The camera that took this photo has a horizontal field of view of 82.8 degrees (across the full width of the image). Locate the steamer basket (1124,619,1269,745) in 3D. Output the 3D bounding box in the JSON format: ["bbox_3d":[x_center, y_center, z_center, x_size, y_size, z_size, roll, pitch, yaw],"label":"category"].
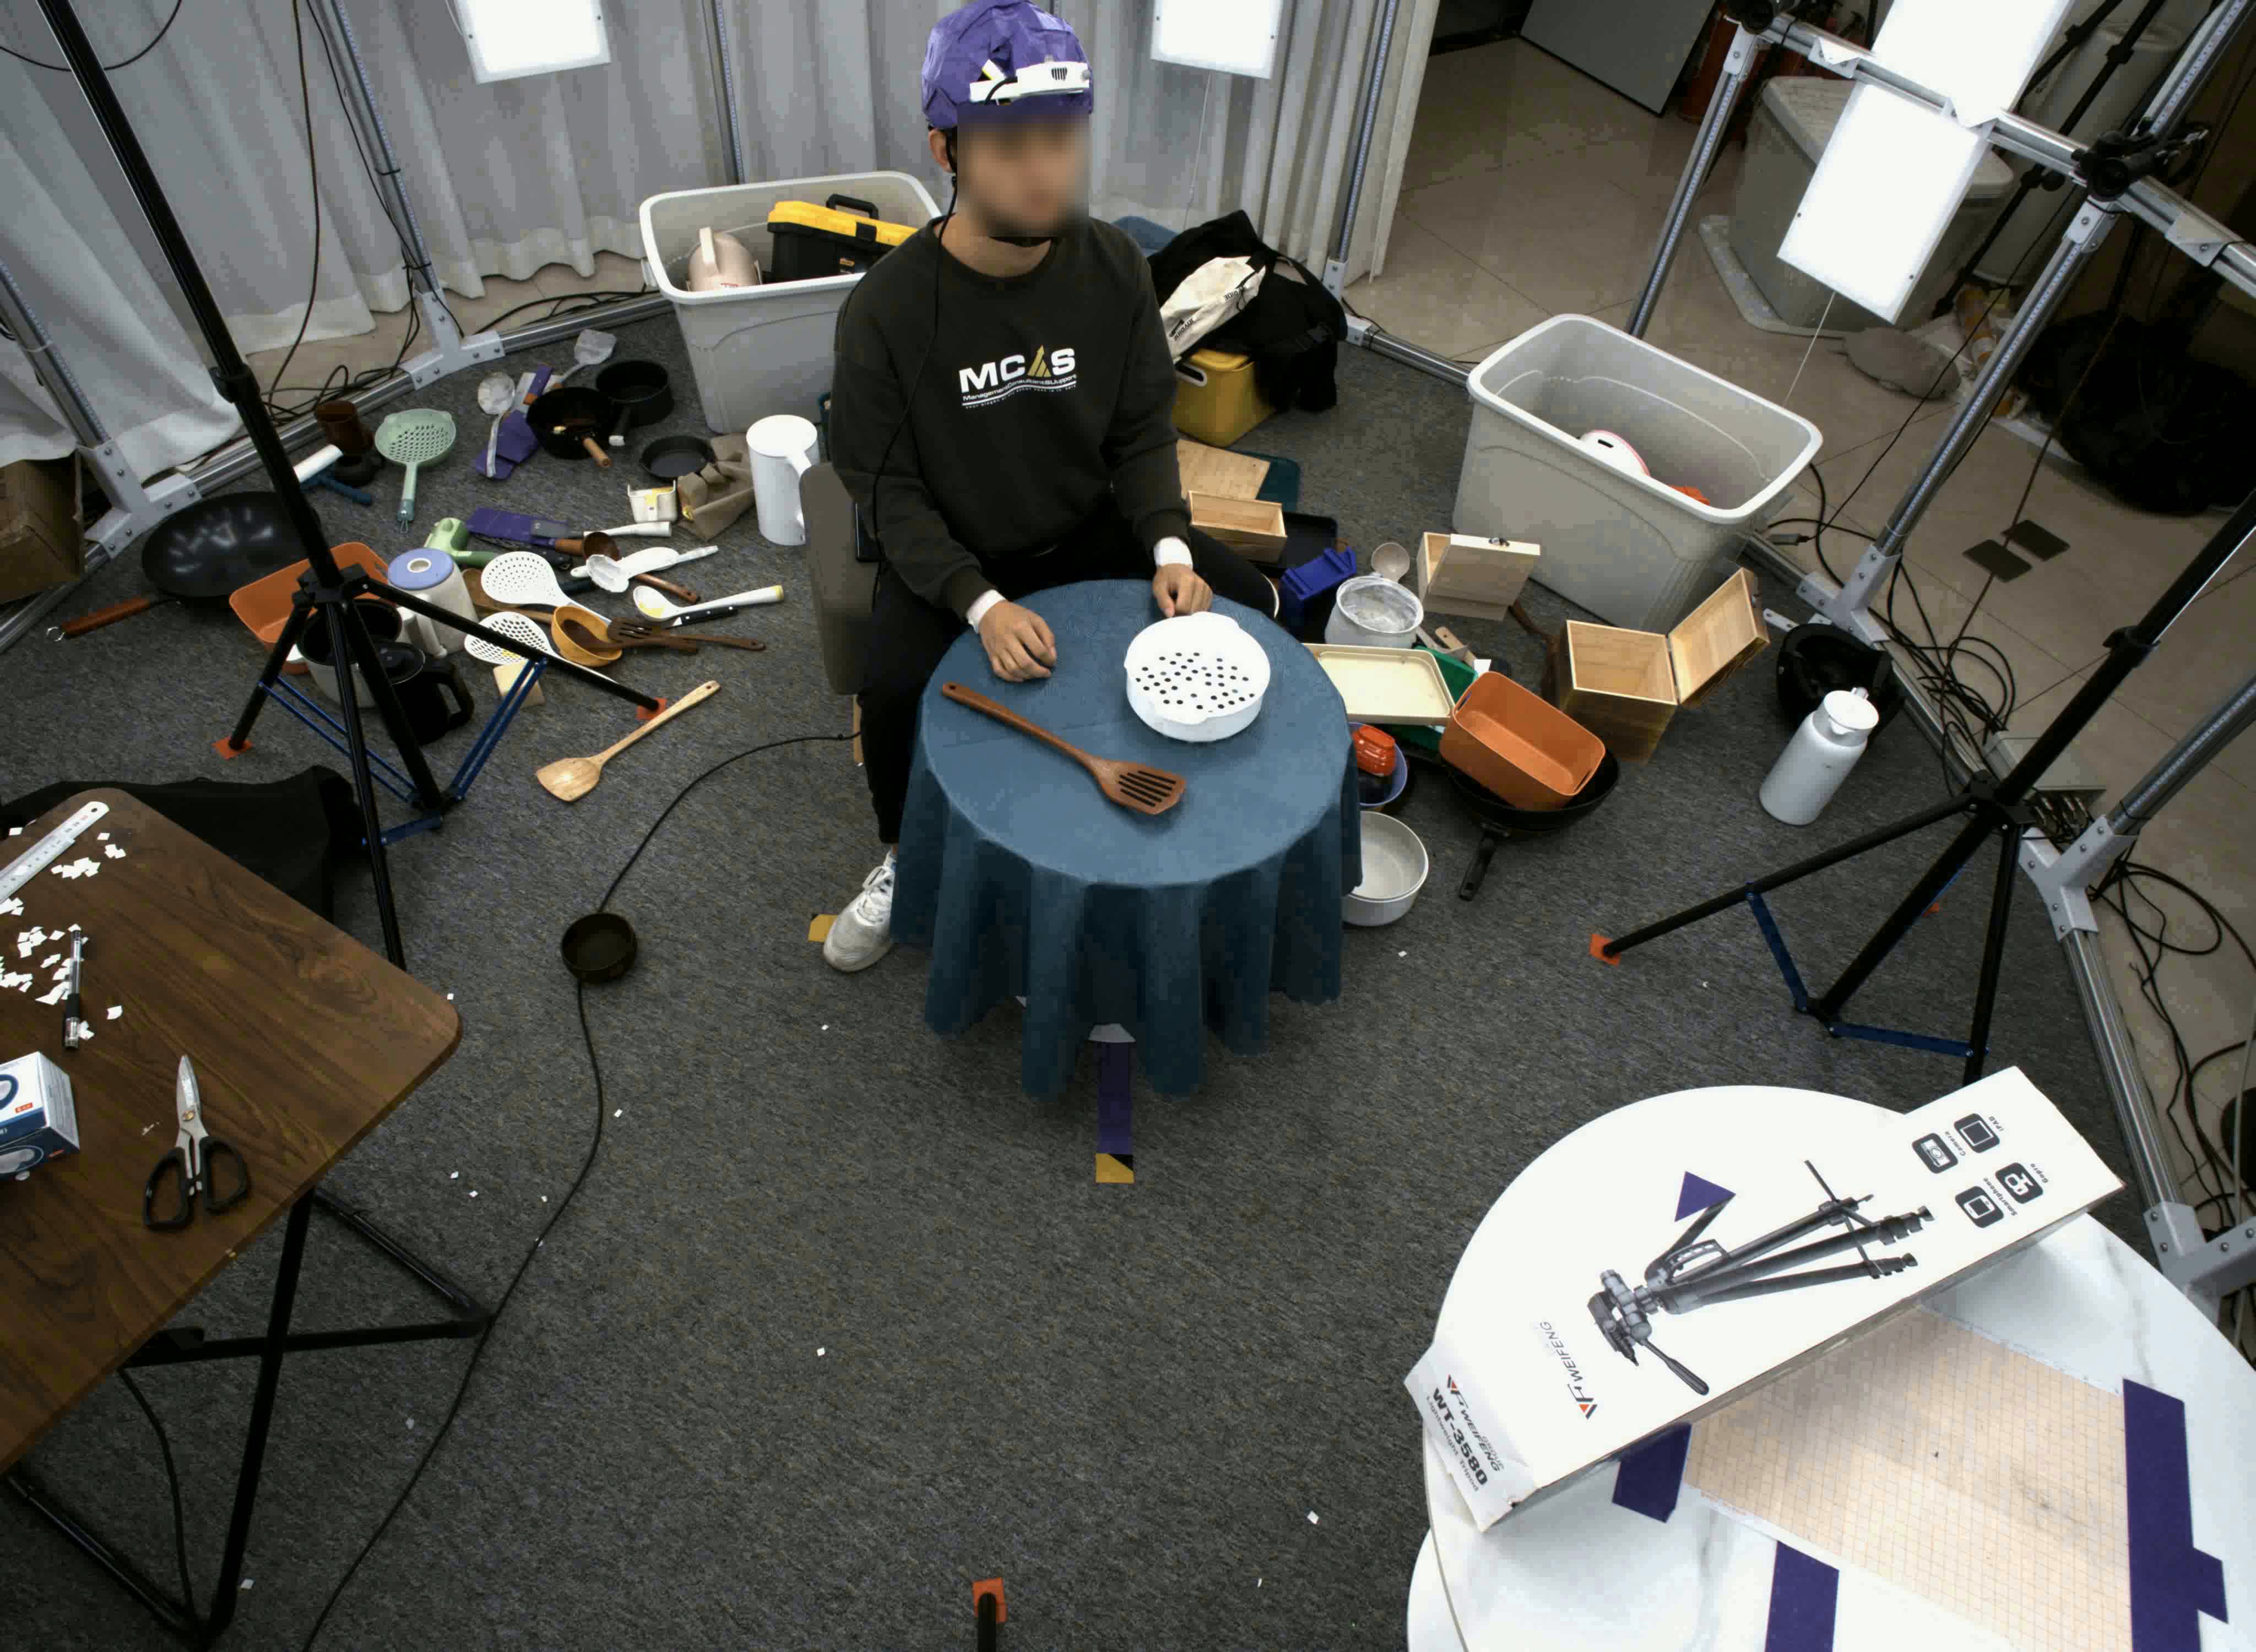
[{"bbox_3d":[0.094,-0.200,1.808,0.202,0.067,0.235,16,47,7],"label":"steamer basket"}]

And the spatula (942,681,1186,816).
[{"bbox_3d":[-0.099,-0.112,1.744,0.389,0.023,0.087,28,51,20],"label":"spatula"}]
